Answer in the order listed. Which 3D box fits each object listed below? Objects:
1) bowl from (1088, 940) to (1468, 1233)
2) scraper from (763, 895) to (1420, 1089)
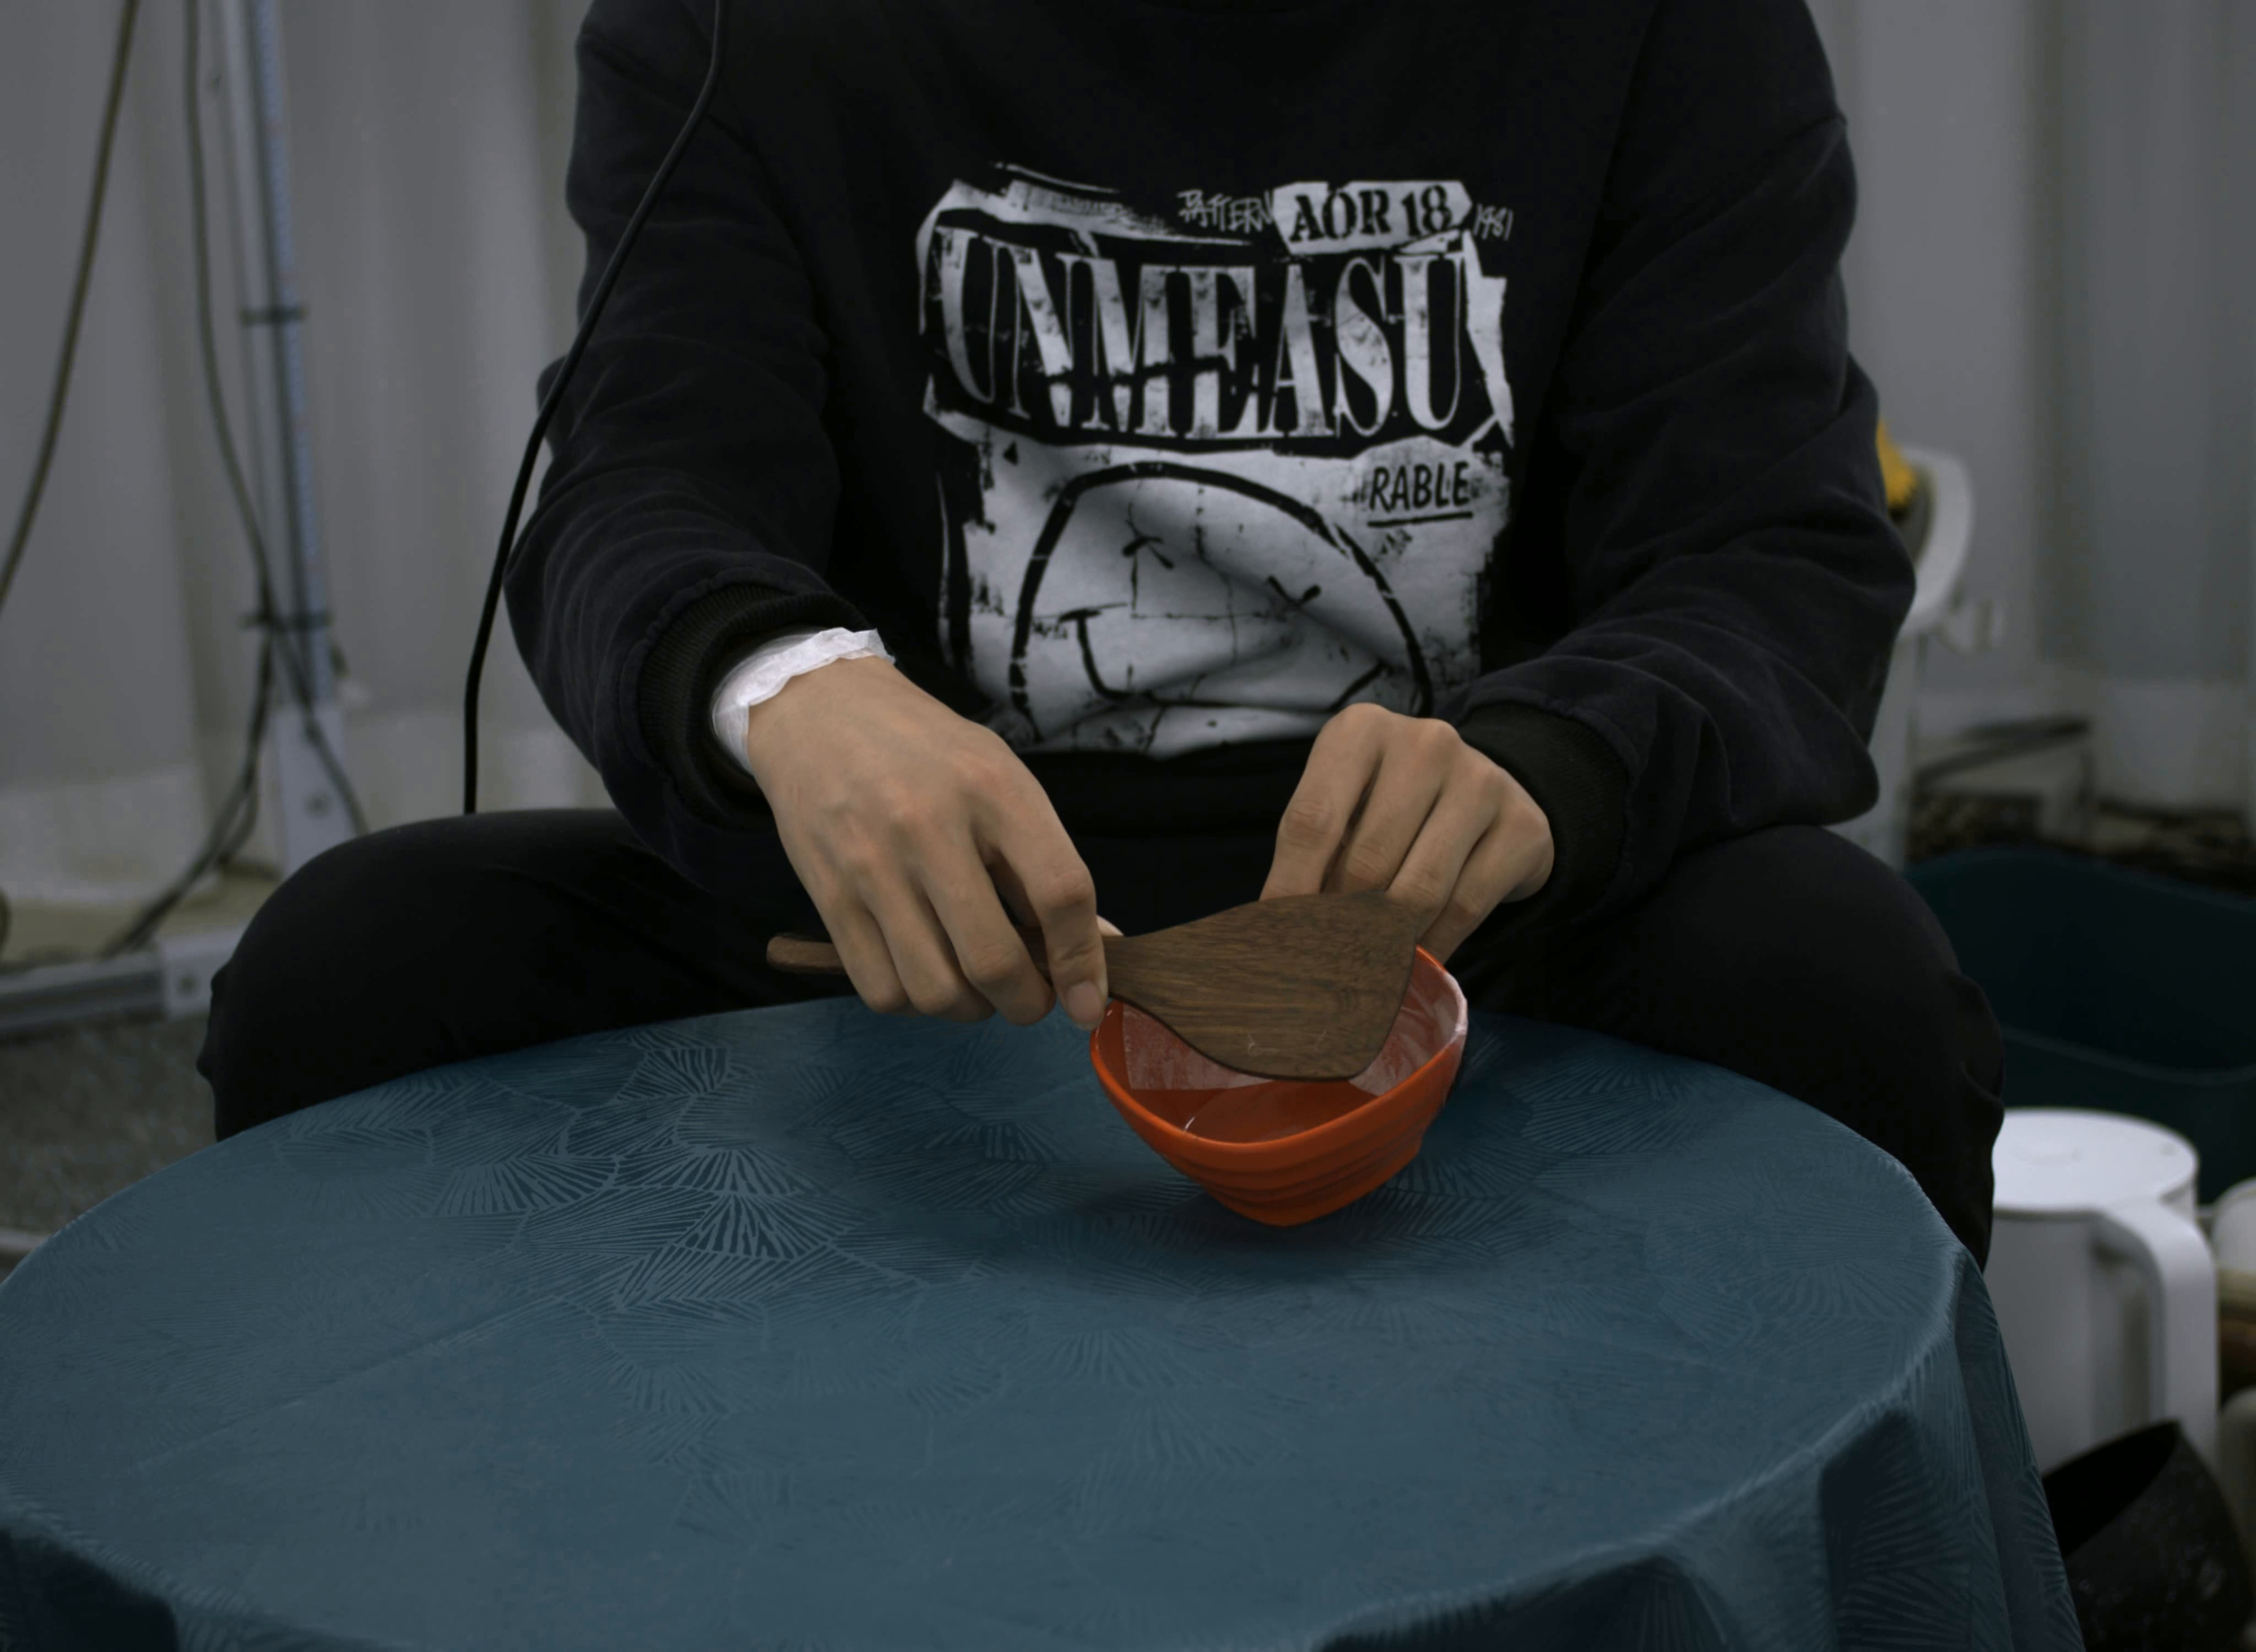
[{"bbox_3d":[0.050,0.082,1.692,0.118,0.051,0.120,-10,34,6],"label":"bowl"},{"bbox_3d":[-0.014,0.043,1.691,0.211,0.010,0.077,6,49,19],"label":"scraper"}]
